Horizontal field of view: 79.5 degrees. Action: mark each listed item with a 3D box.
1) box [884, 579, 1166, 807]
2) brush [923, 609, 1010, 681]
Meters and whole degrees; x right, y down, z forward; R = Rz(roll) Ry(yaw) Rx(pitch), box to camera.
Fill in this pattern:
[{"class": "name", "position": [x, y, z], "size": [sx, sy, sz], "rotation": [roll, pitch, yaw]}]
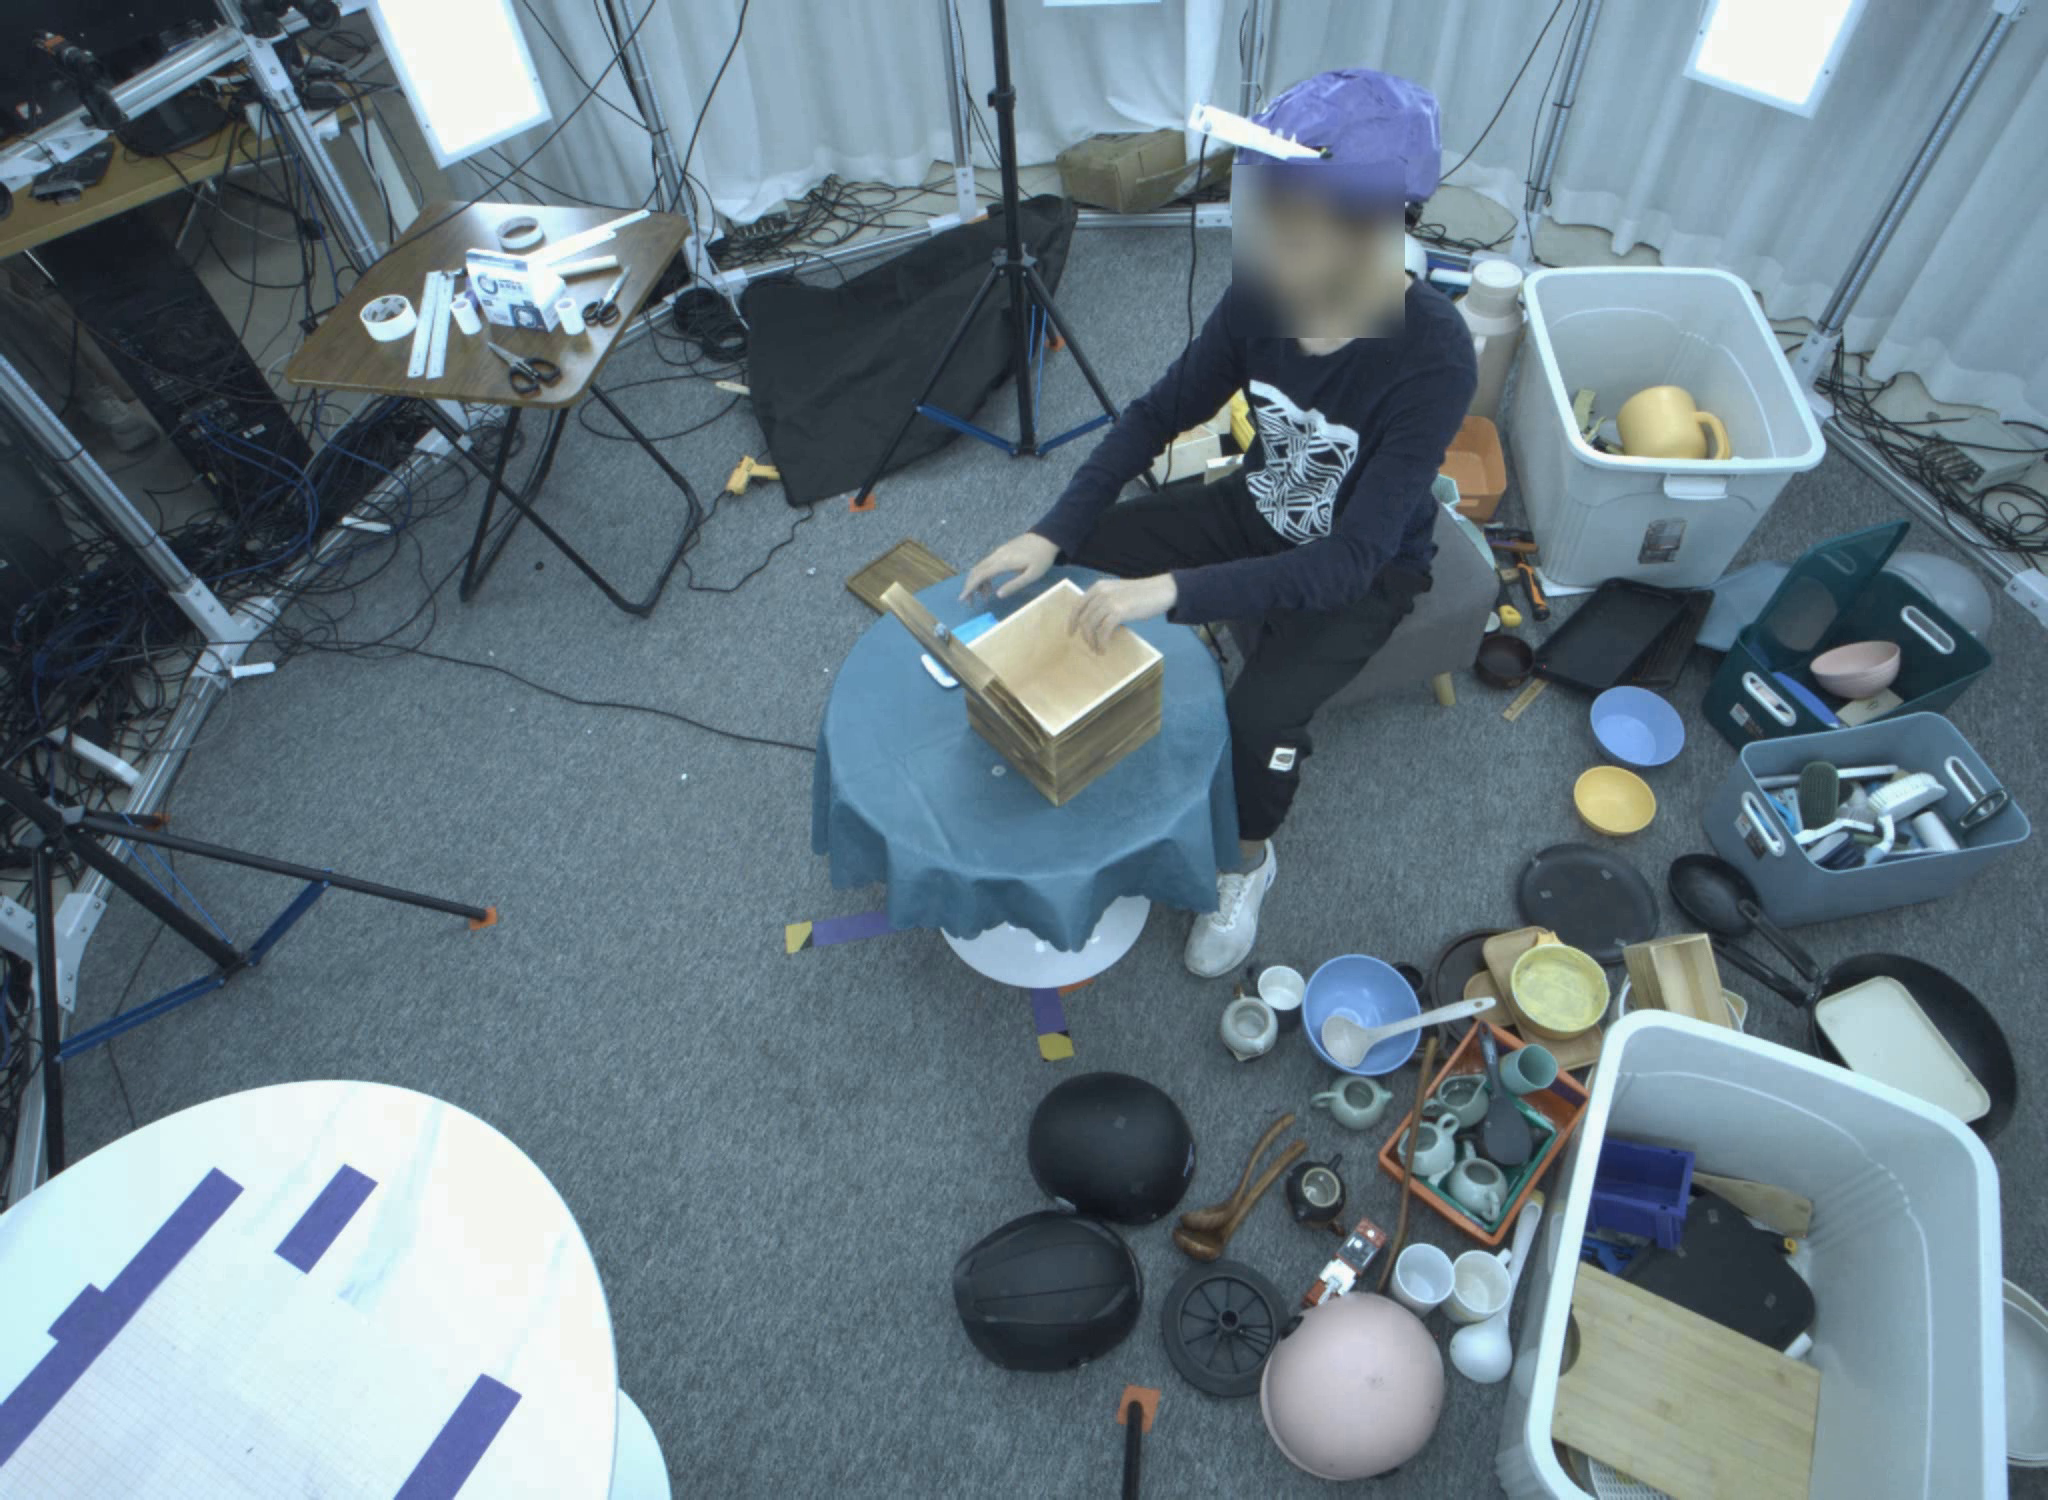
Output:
[{"class": "box", "position": [0.011, -0.109, 1.634], "size": [0.324, 0.379, 0.205], "rotation": [-36, 60, -21]}, {"class": "brush", "position": [-0.080, -0.168, 1.865], "size": [0.145, 0.056, 0.082], "rotation": [-30, 61, -16]}]
